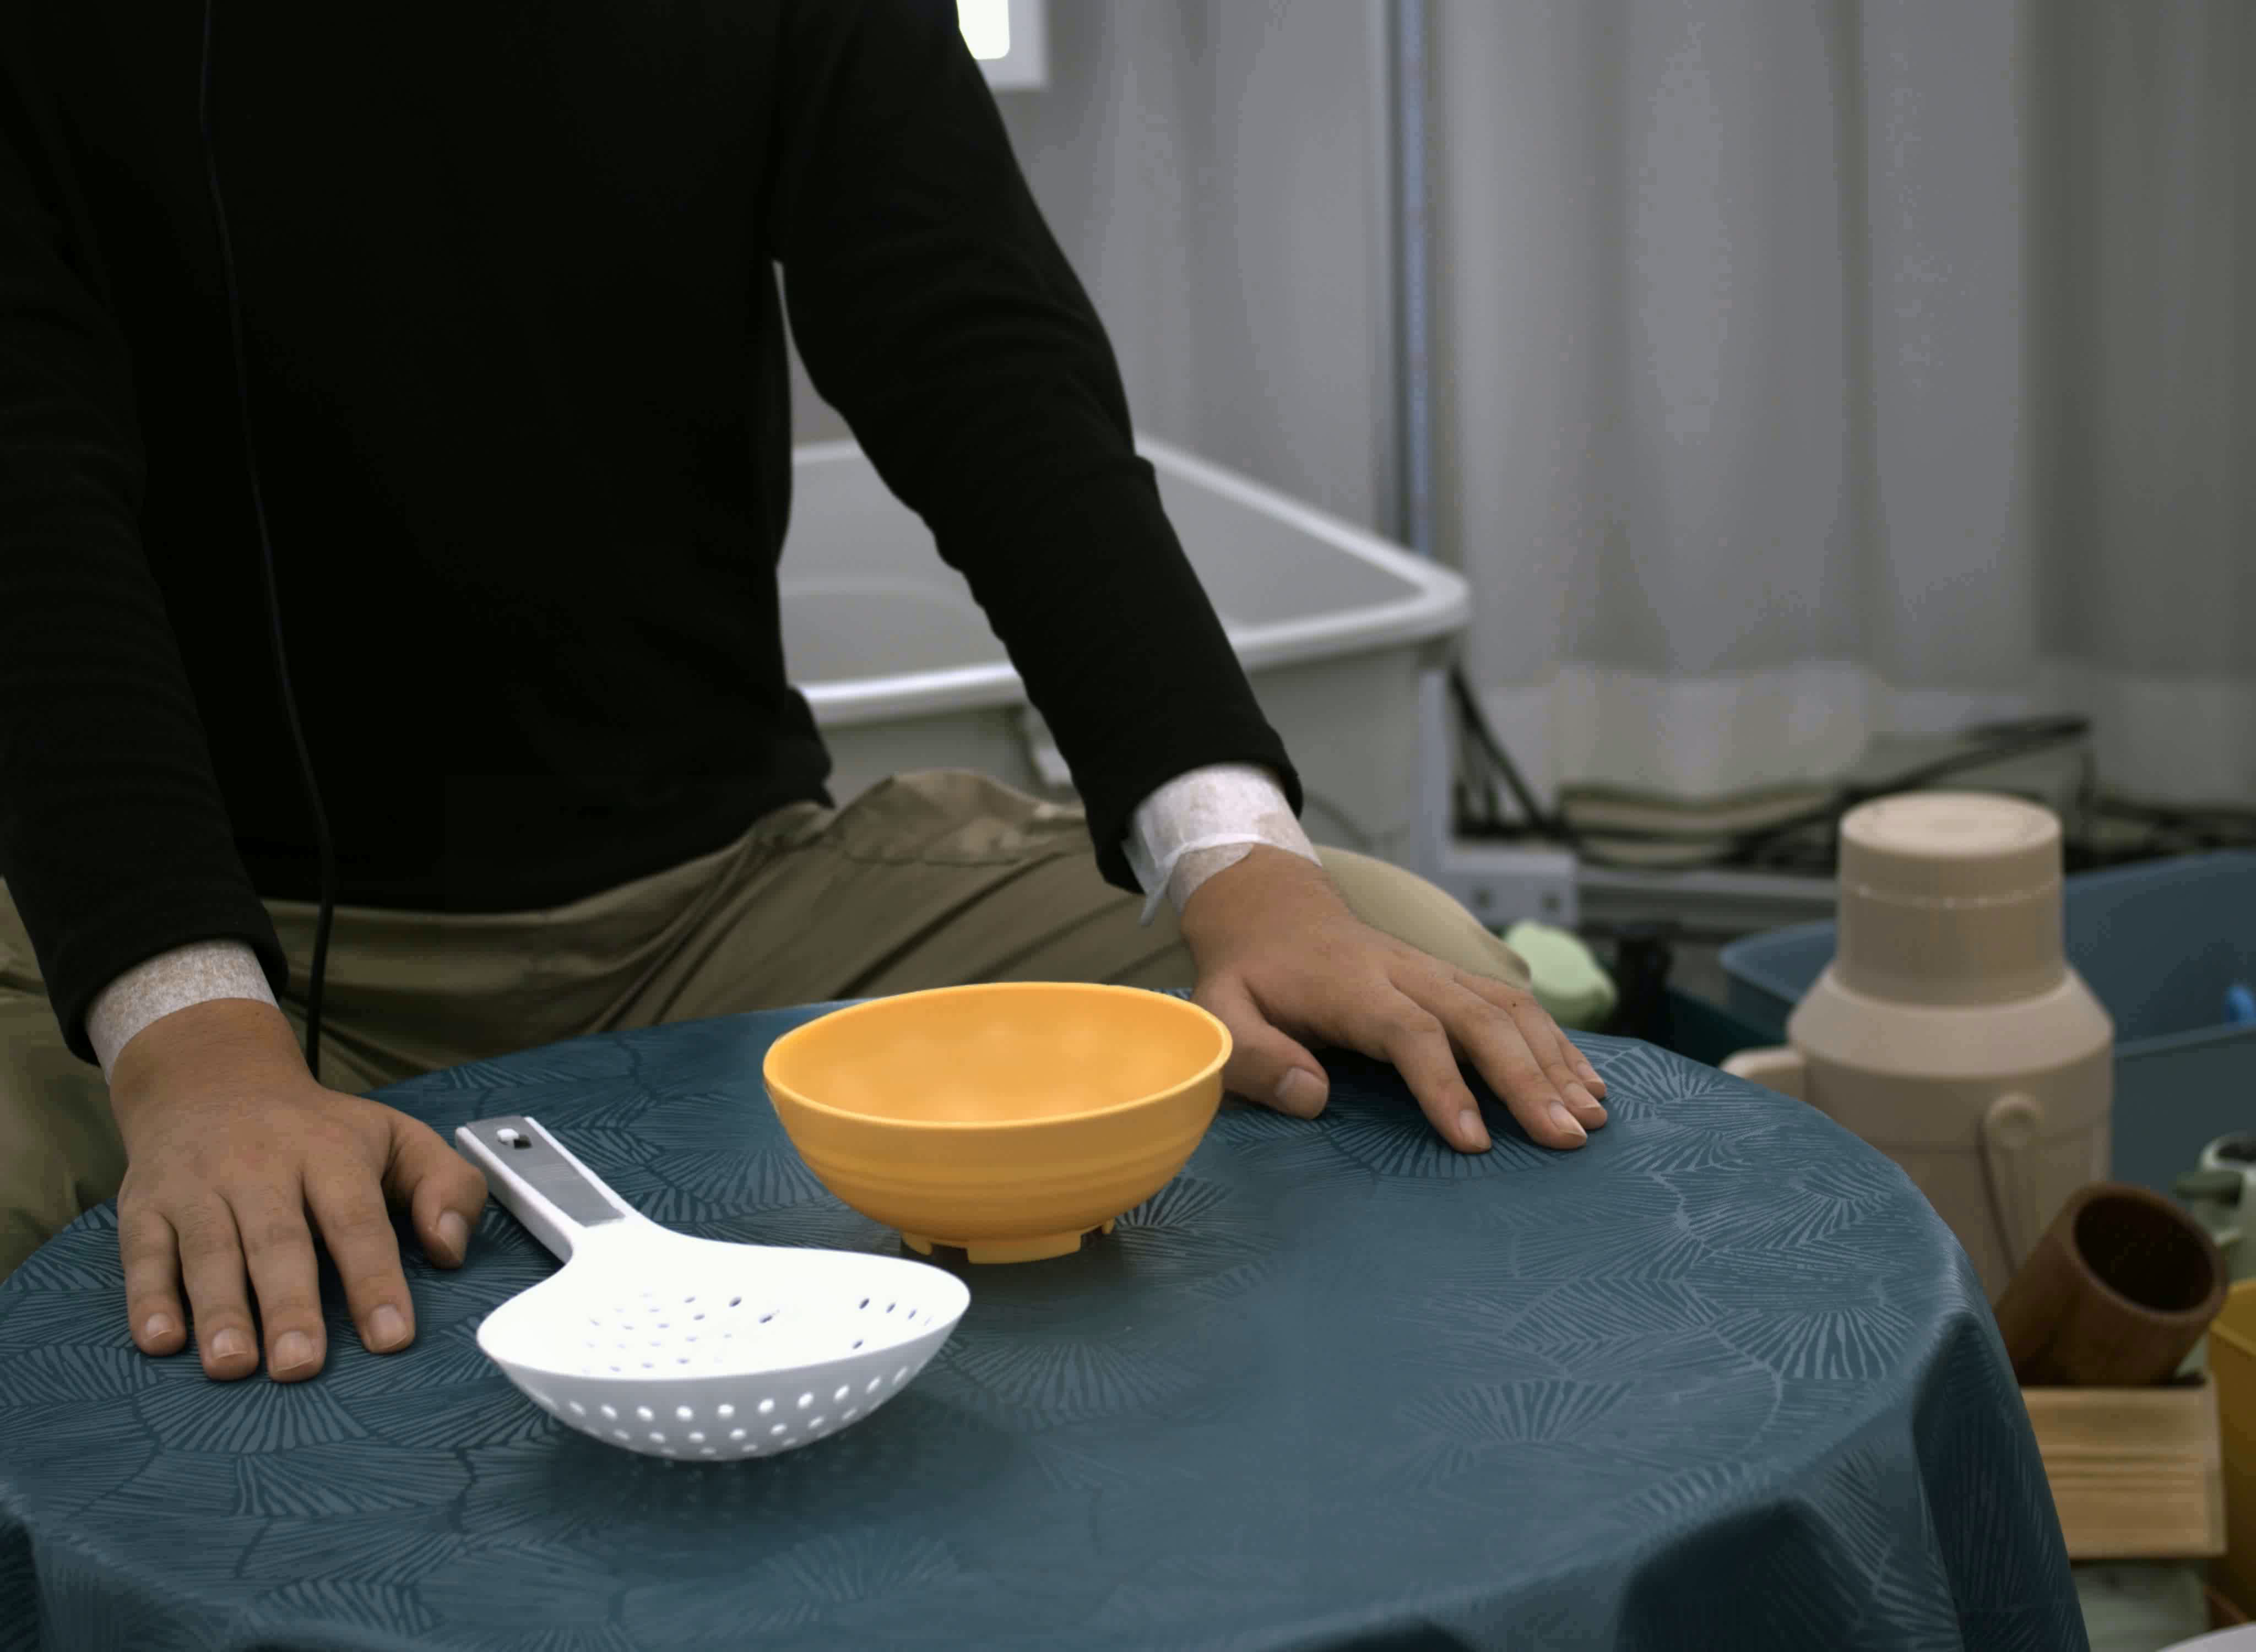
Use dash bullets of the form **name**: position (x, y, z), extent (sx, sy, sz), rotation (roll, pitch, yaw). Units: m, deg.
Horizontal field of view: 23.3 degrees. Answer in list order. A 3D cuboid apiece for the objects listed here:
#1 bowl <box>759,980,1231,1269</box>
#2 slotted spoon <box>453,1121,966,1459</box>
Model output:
- **bowl**: position (-0.040, 0.097, 1.679), extent (0.145, 0.060, 0.146), rotation (-1, 16, 0)
- **slotted spoon**: position (-0.149, 0.127, 1.609), extent (0.135, 0.045, 0.352), rotation (-7, 14, -19)
